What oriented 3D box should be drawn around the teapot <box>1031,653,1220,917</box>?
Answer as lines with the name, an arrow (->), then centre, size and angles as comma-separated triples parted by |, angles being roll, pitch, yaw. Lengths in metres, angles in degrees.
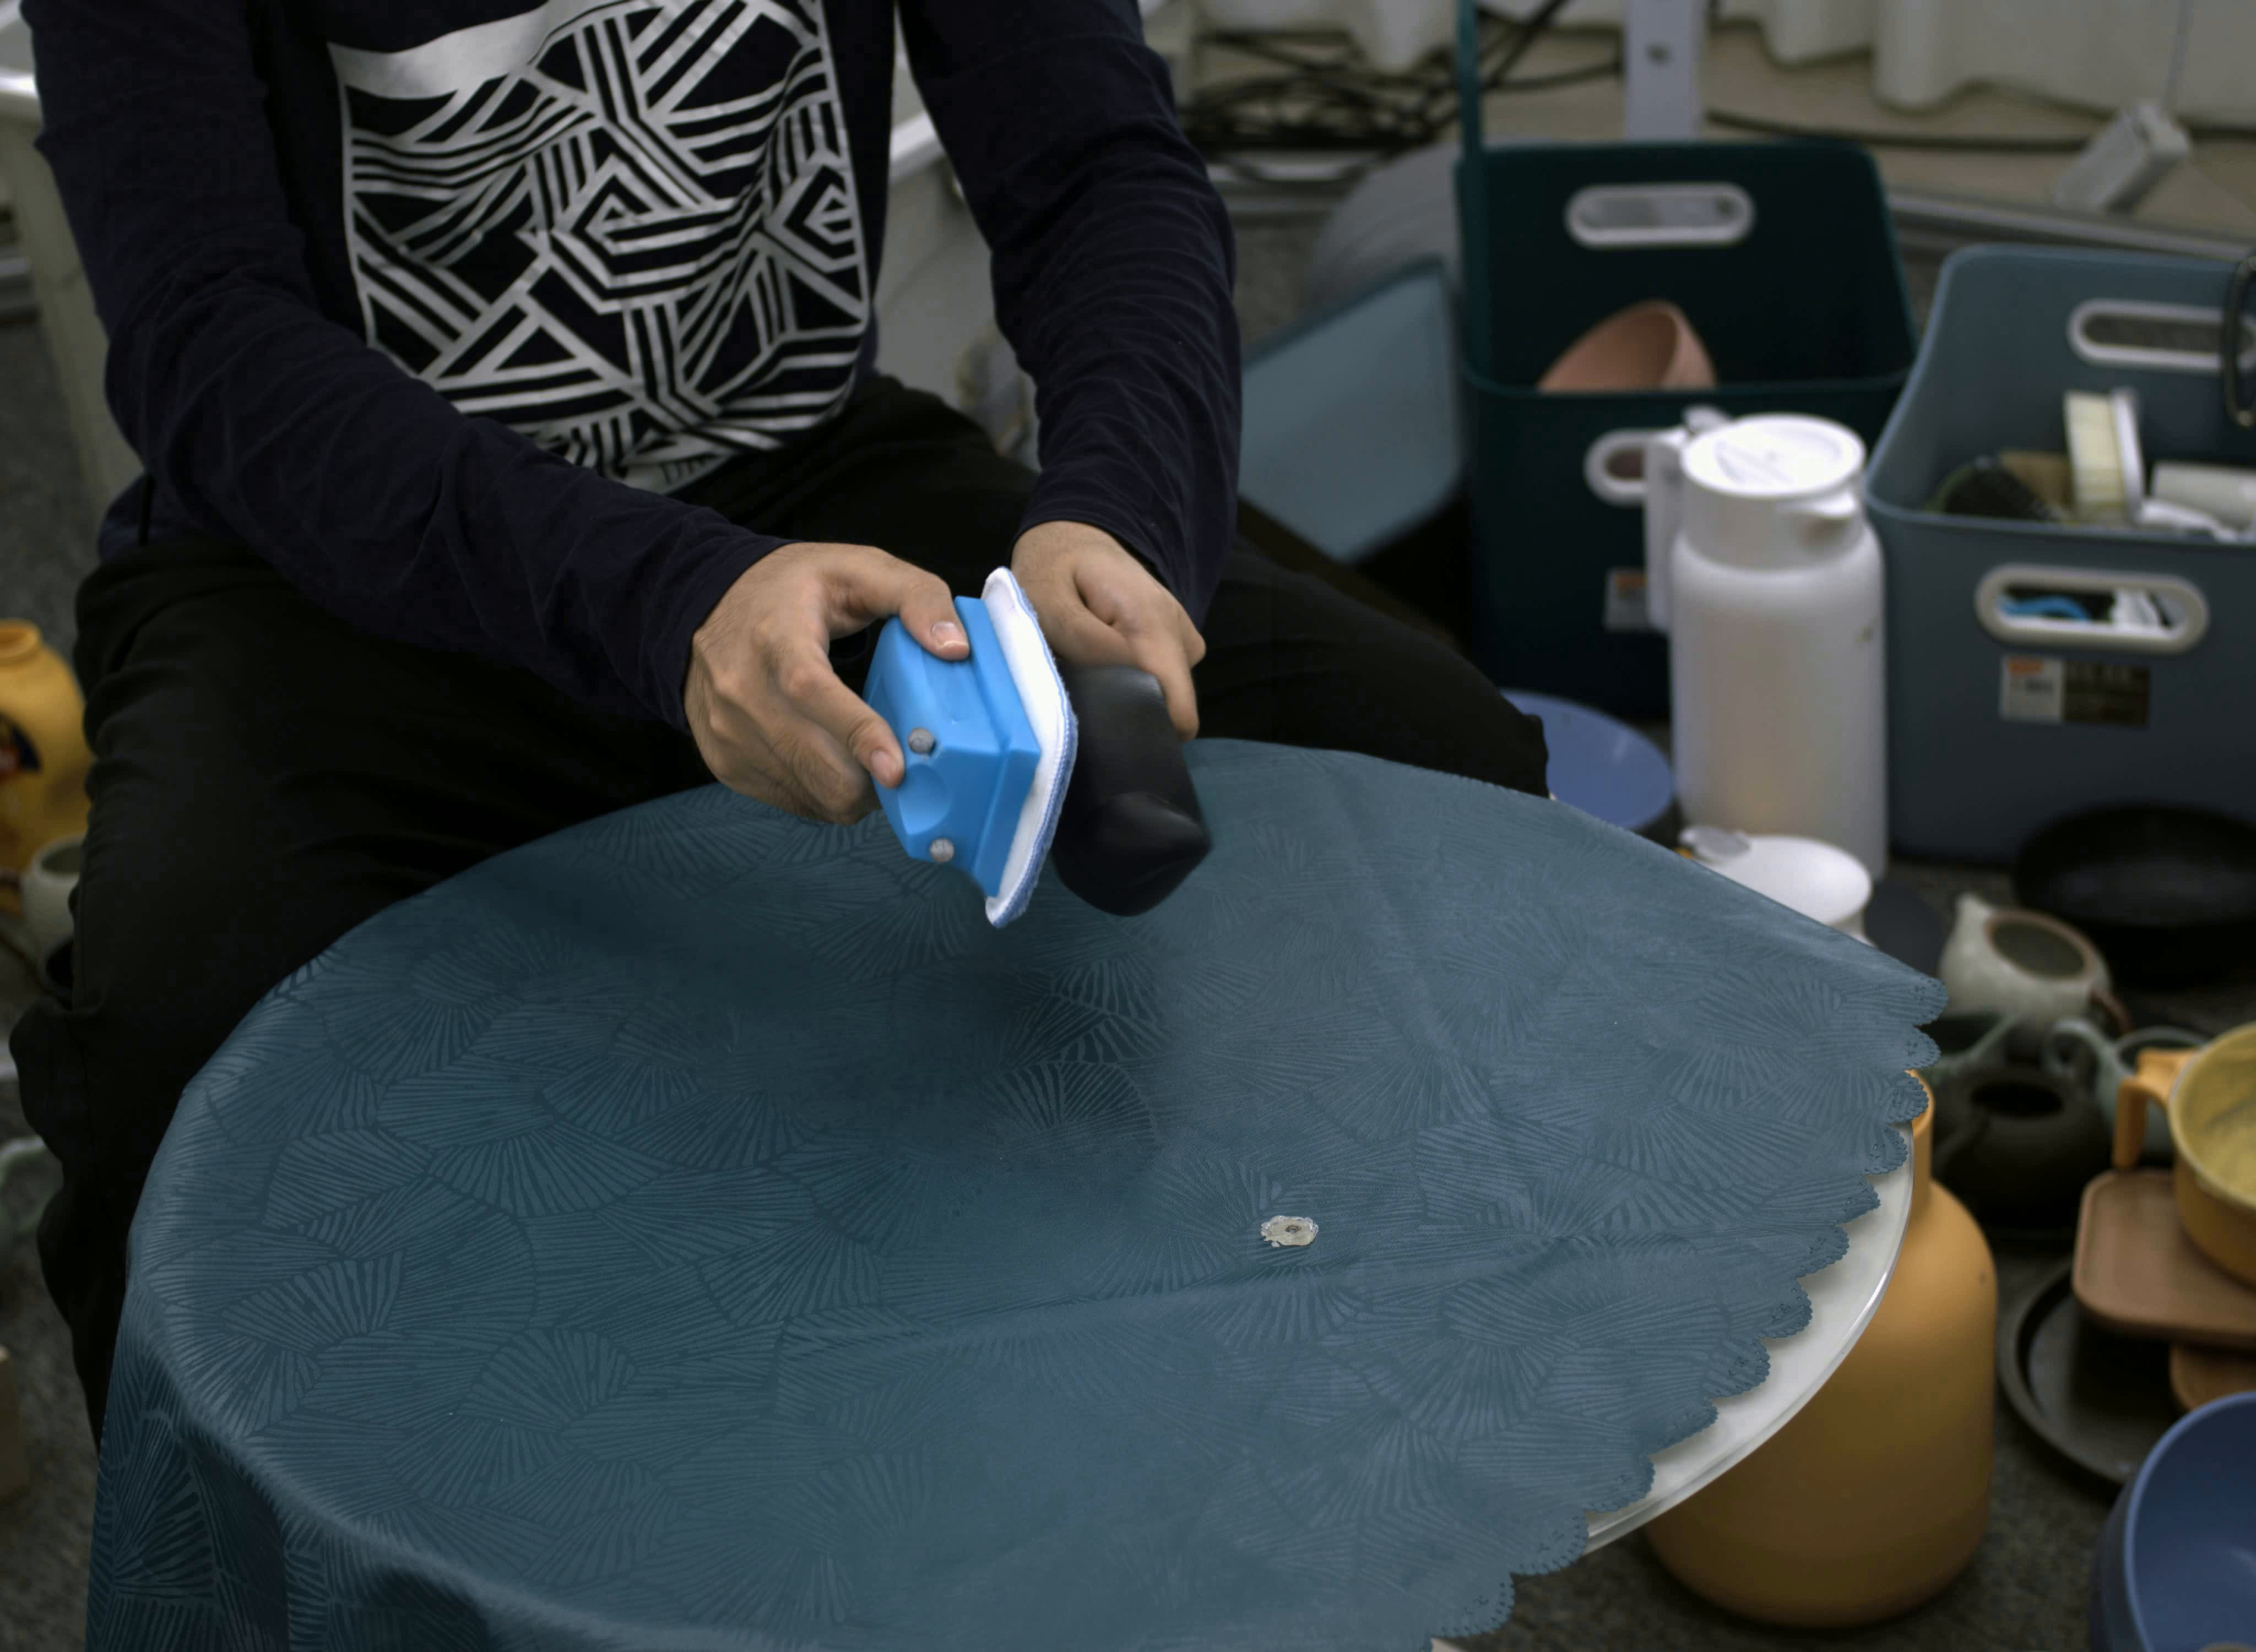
teapot -> -0.002, -0.015, 1.891 | 0.053, 0.090, 0.135 | -17, 27, 1

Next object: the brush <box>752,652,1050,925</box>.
brush -> -0.082, -0.017, 1.878 | 0.056, 0.084, 0.143 | 22, -2, -30
